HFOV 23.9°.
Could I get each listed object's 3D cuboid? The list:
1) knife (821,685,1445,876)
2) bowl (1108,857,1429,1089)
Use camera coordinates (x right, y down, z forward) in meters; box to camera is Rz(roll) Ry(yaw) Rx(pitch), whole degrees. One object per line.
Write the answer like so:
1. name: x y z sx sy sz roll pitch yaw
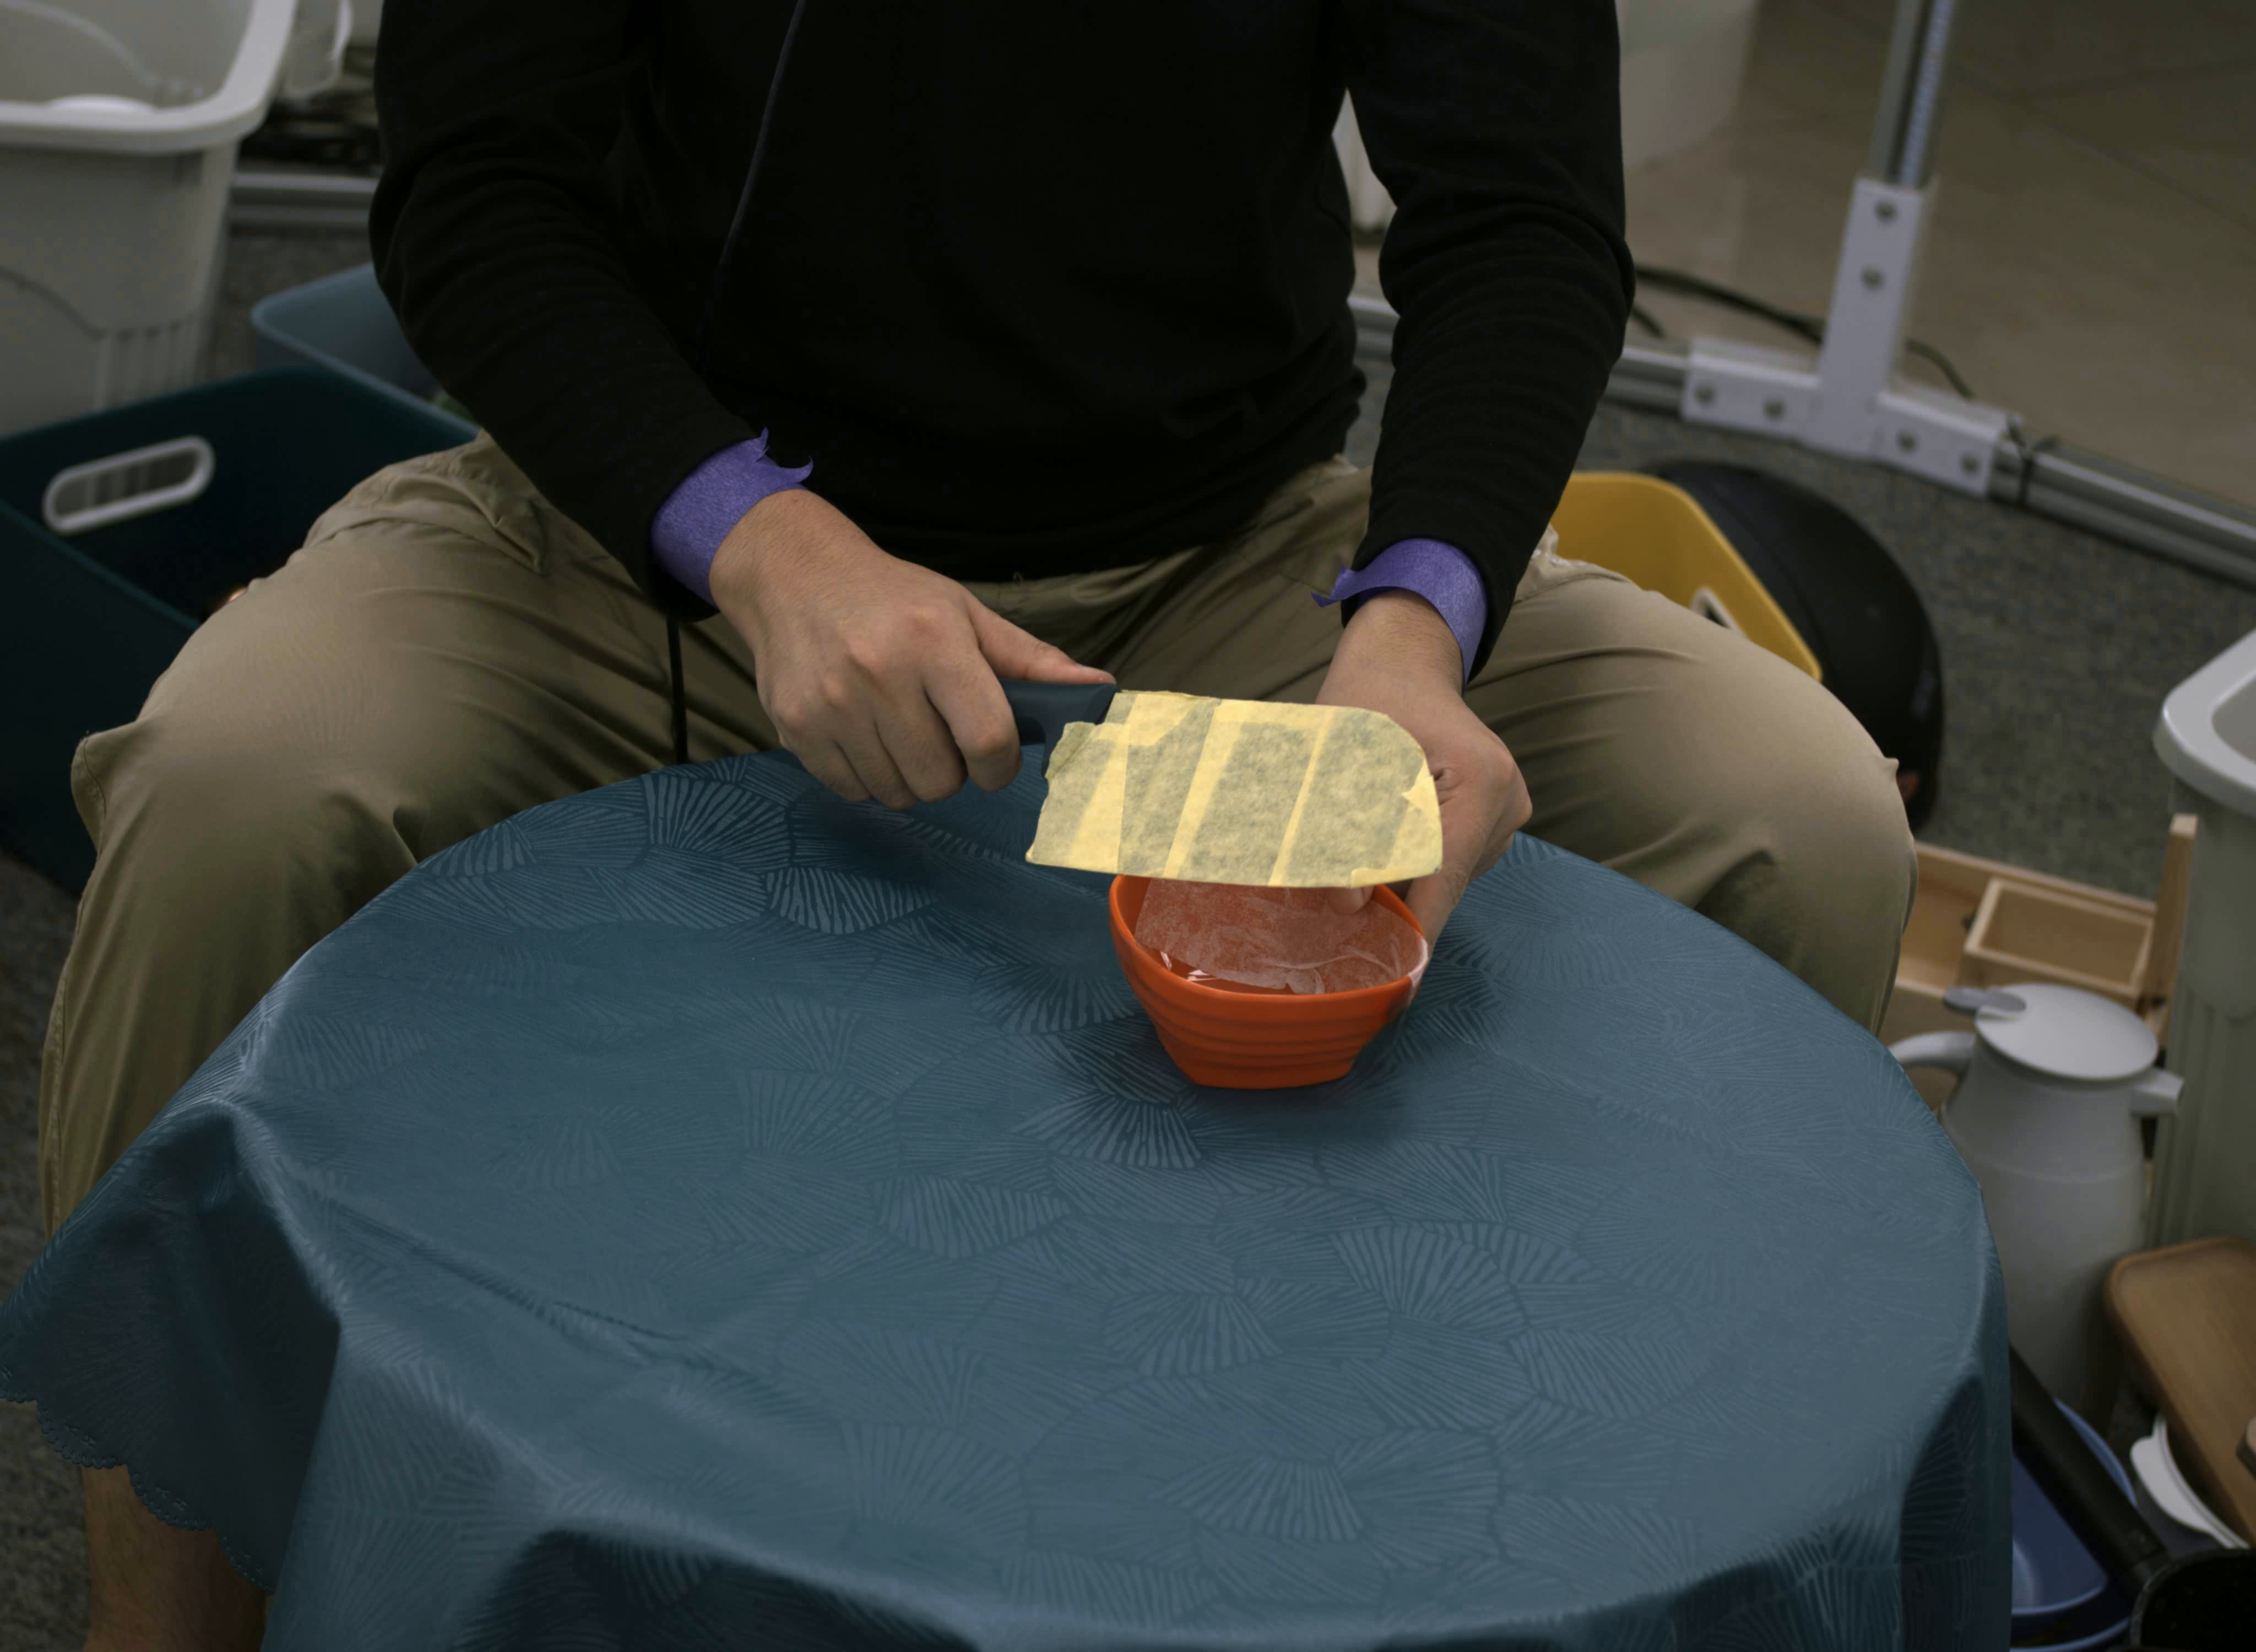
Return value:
1. knife: -0.004 -0.018 1.932 0.291 0.027 0.081 7 63 38
2. bowl: 0.047 0.054 1.894 0.118 0.051 0.119 4 29 -2
